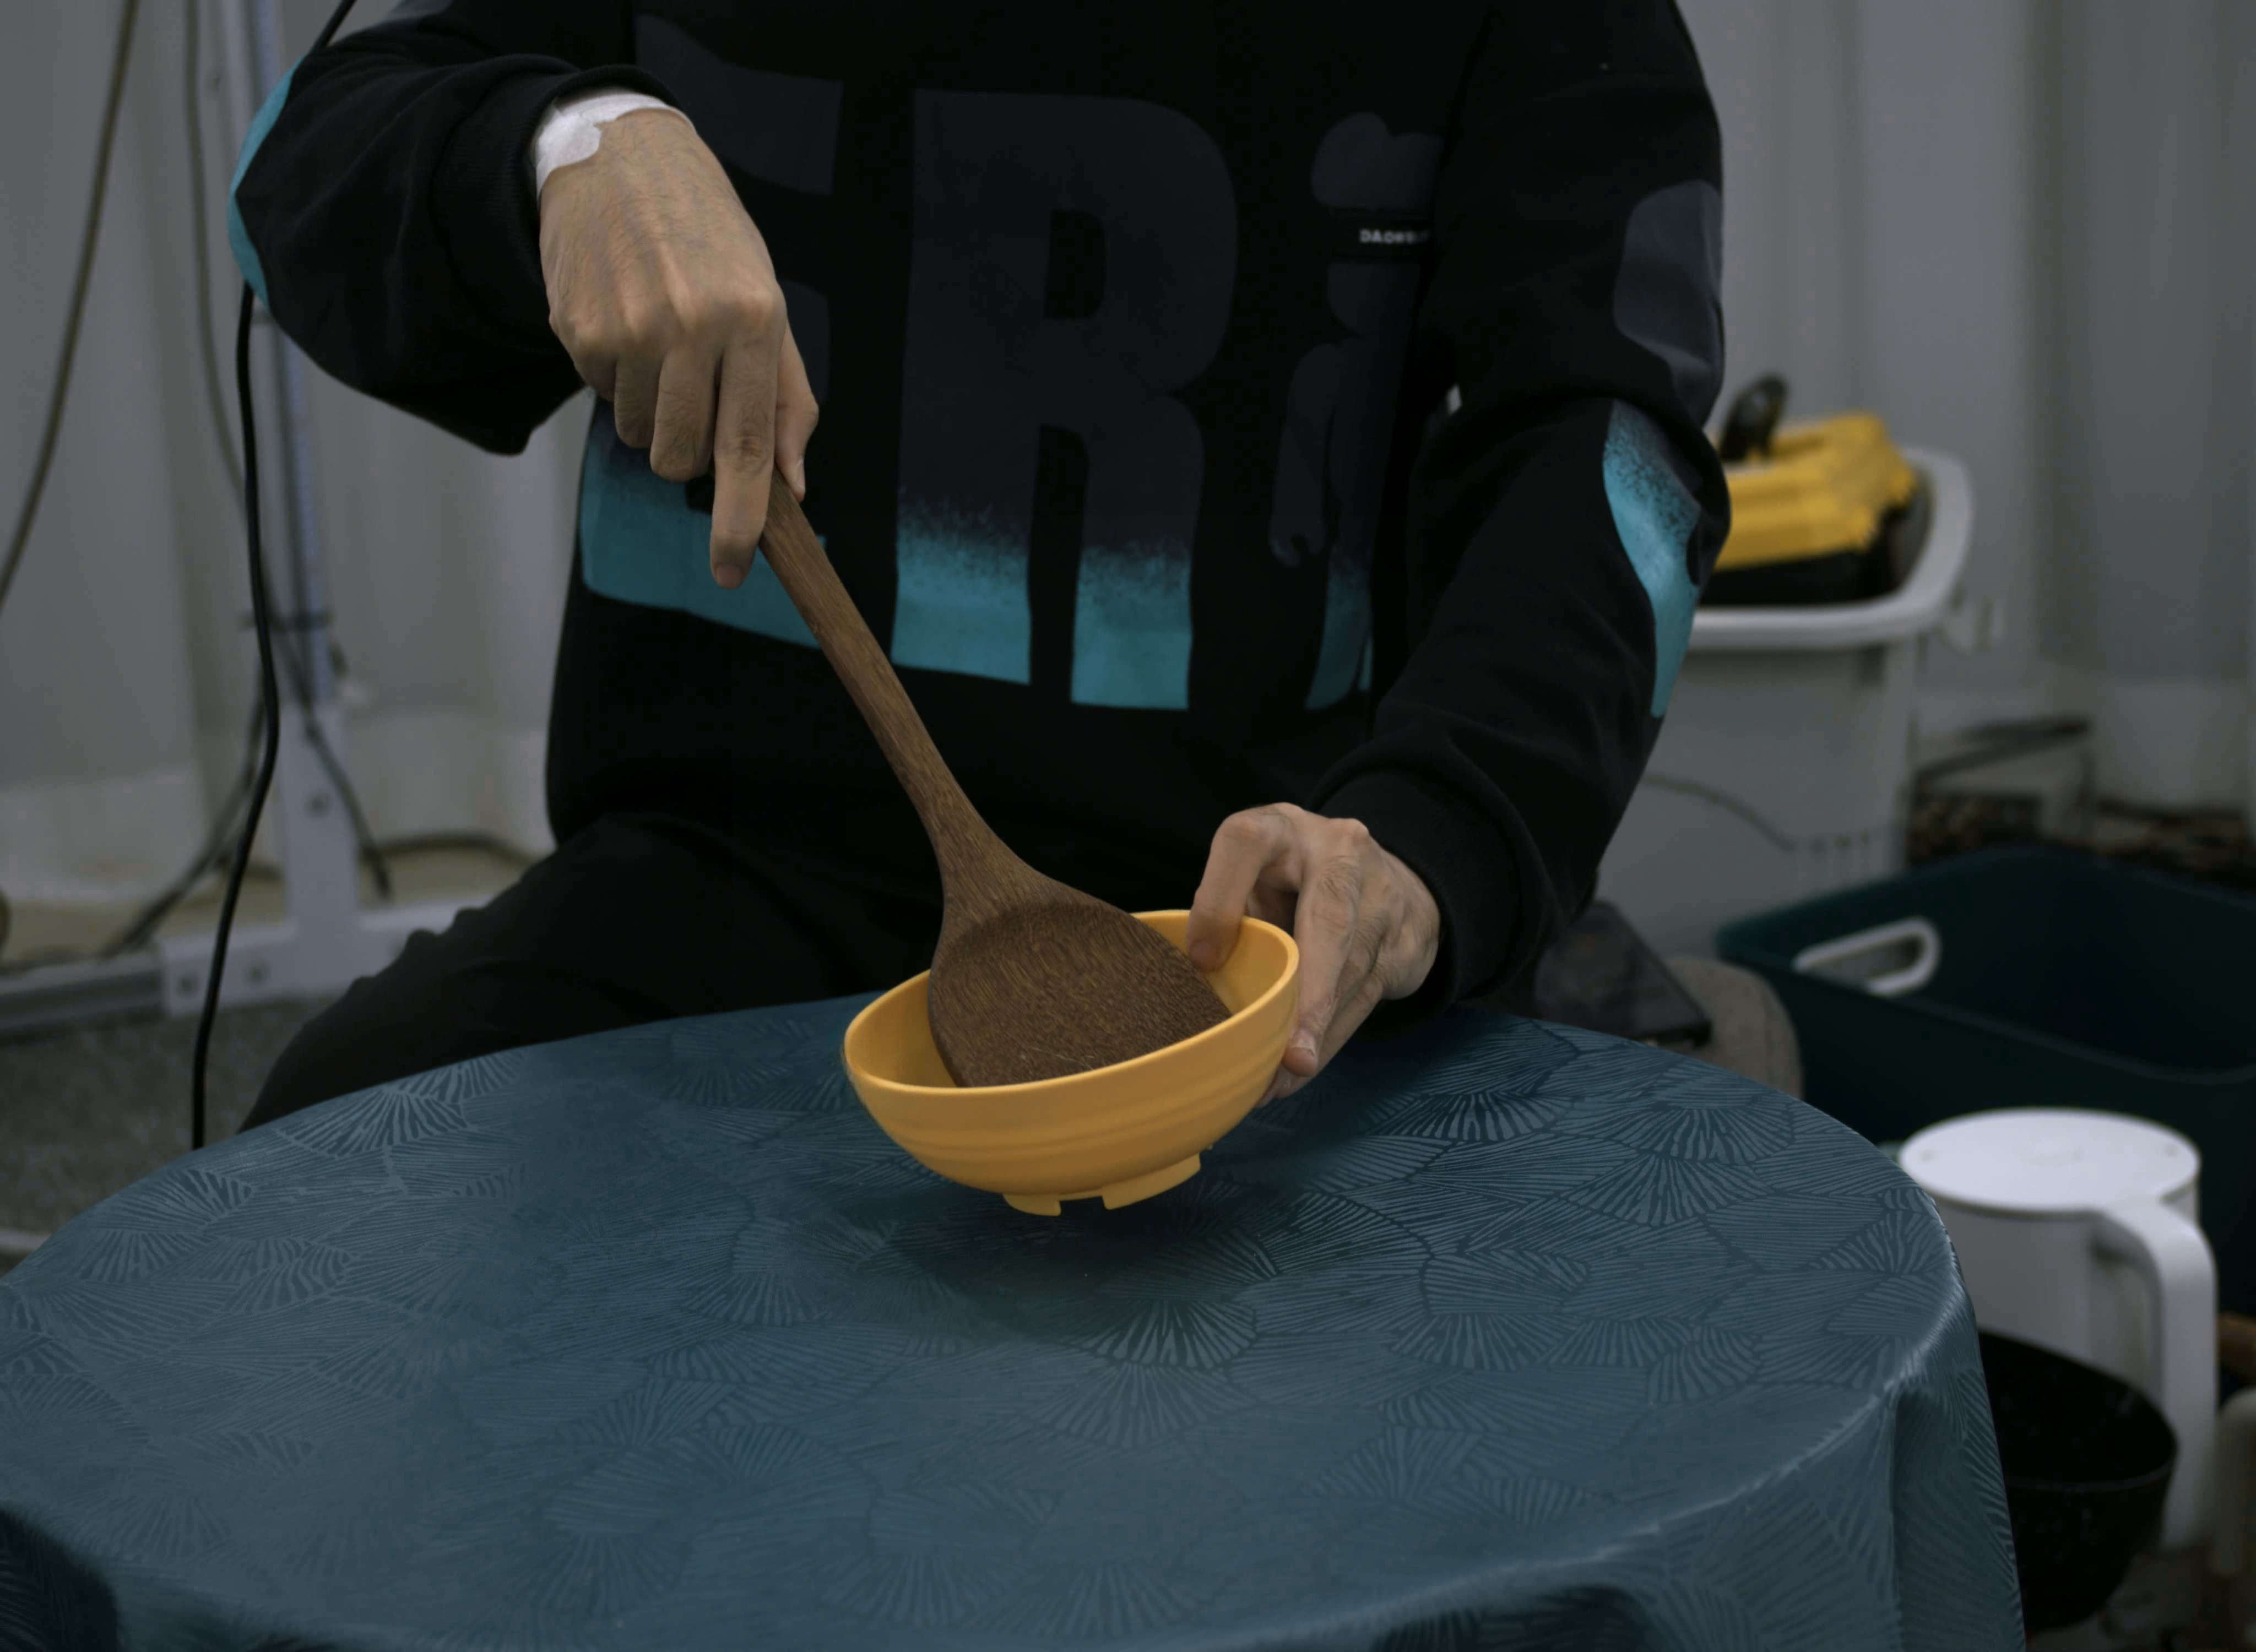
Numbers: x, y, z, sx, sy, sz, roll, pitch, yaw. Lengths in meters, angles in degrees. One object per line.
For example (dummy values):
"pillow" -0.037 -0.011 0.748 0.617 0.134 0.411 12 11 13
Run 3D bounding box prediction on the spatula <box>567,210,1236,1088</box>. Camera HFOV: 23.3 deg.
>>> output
"spatula" -0.087 -0.055 1.751 0.096 0.015 0.390 -18 63 -28

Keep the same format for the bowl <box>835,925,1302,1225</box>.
"bowl" -0.014 0.082 1.676 0.145 0.060 0.146 -9 16 2
